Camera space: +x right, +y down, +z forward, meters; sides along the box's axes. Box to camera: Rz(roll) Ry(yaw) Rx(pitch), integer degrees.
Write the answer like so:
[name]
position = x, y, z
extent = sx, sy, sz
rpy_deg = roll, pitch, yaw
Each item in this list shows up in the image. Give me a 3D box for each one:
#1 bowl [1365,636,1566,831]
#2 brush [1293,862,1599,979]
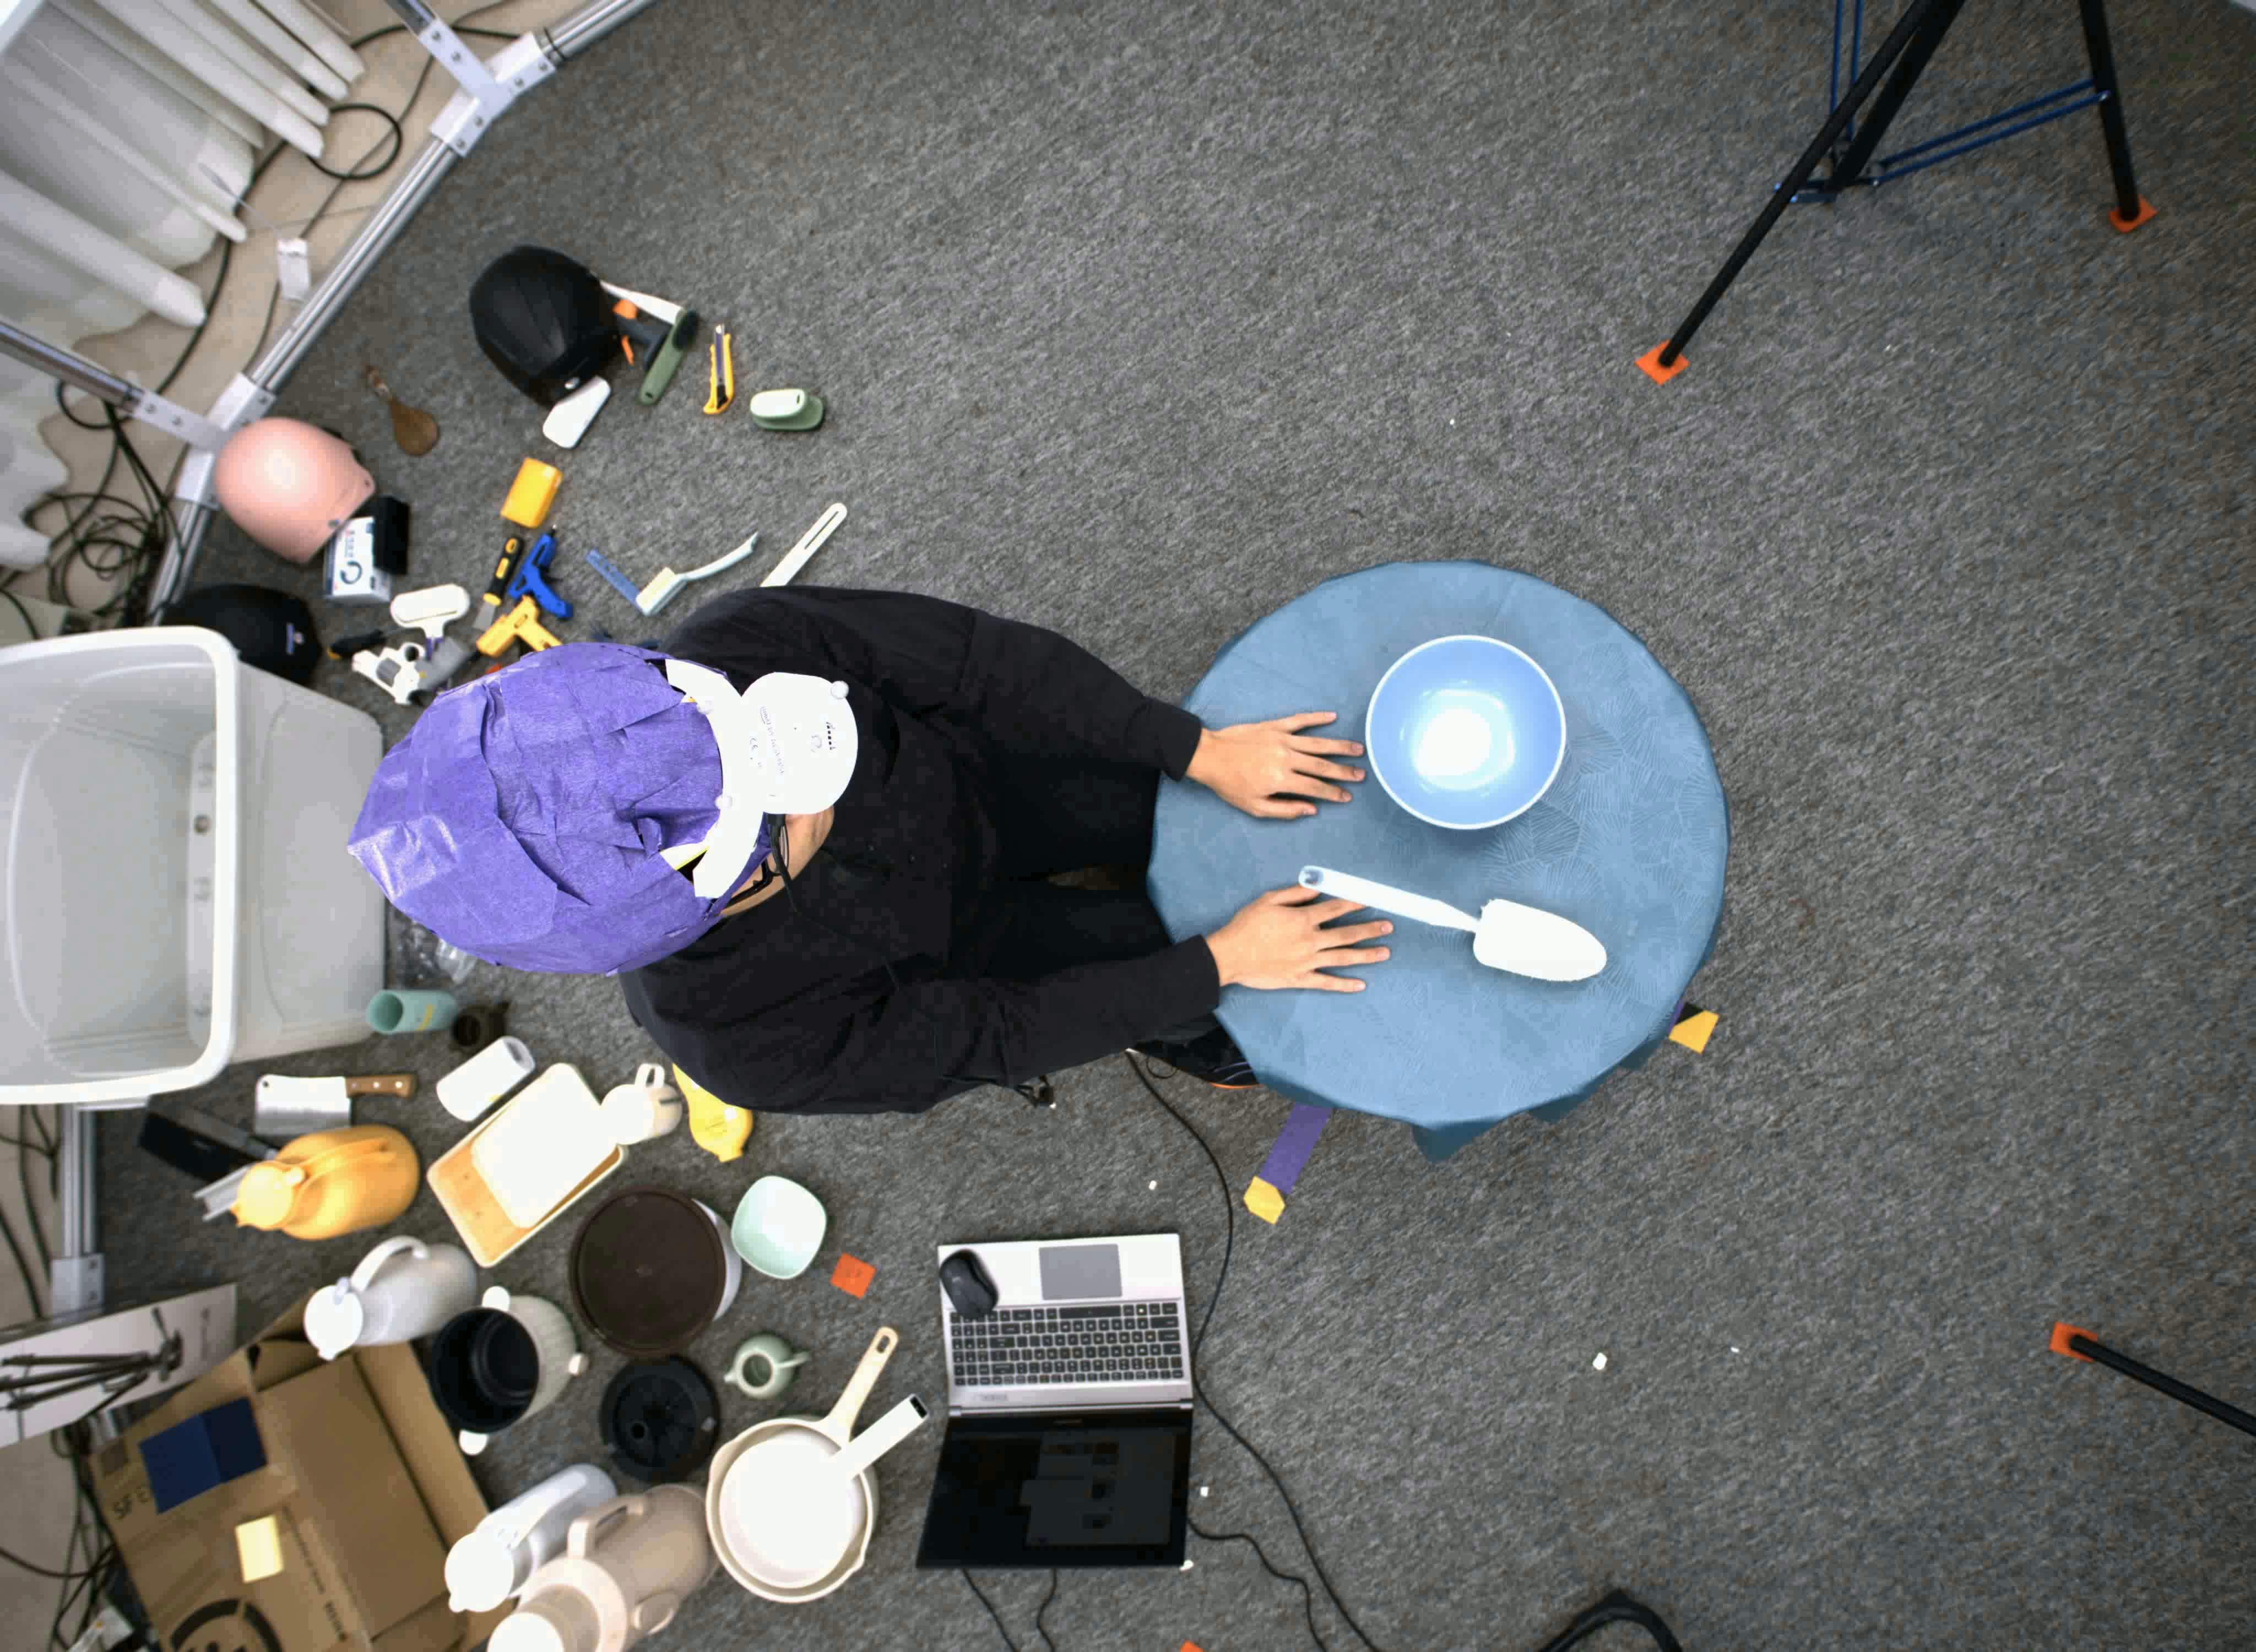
[bowl]
position = 0.343, -0.090, 1.409
extent = 0.197, 0.095, 0.196
rpy_deg = -1, 87, 11
[brush]
position = 0.321, 0.086, 1.406
extent = 0.326, 0.087, 0.081
rpy_deg = 16, 51, -1
